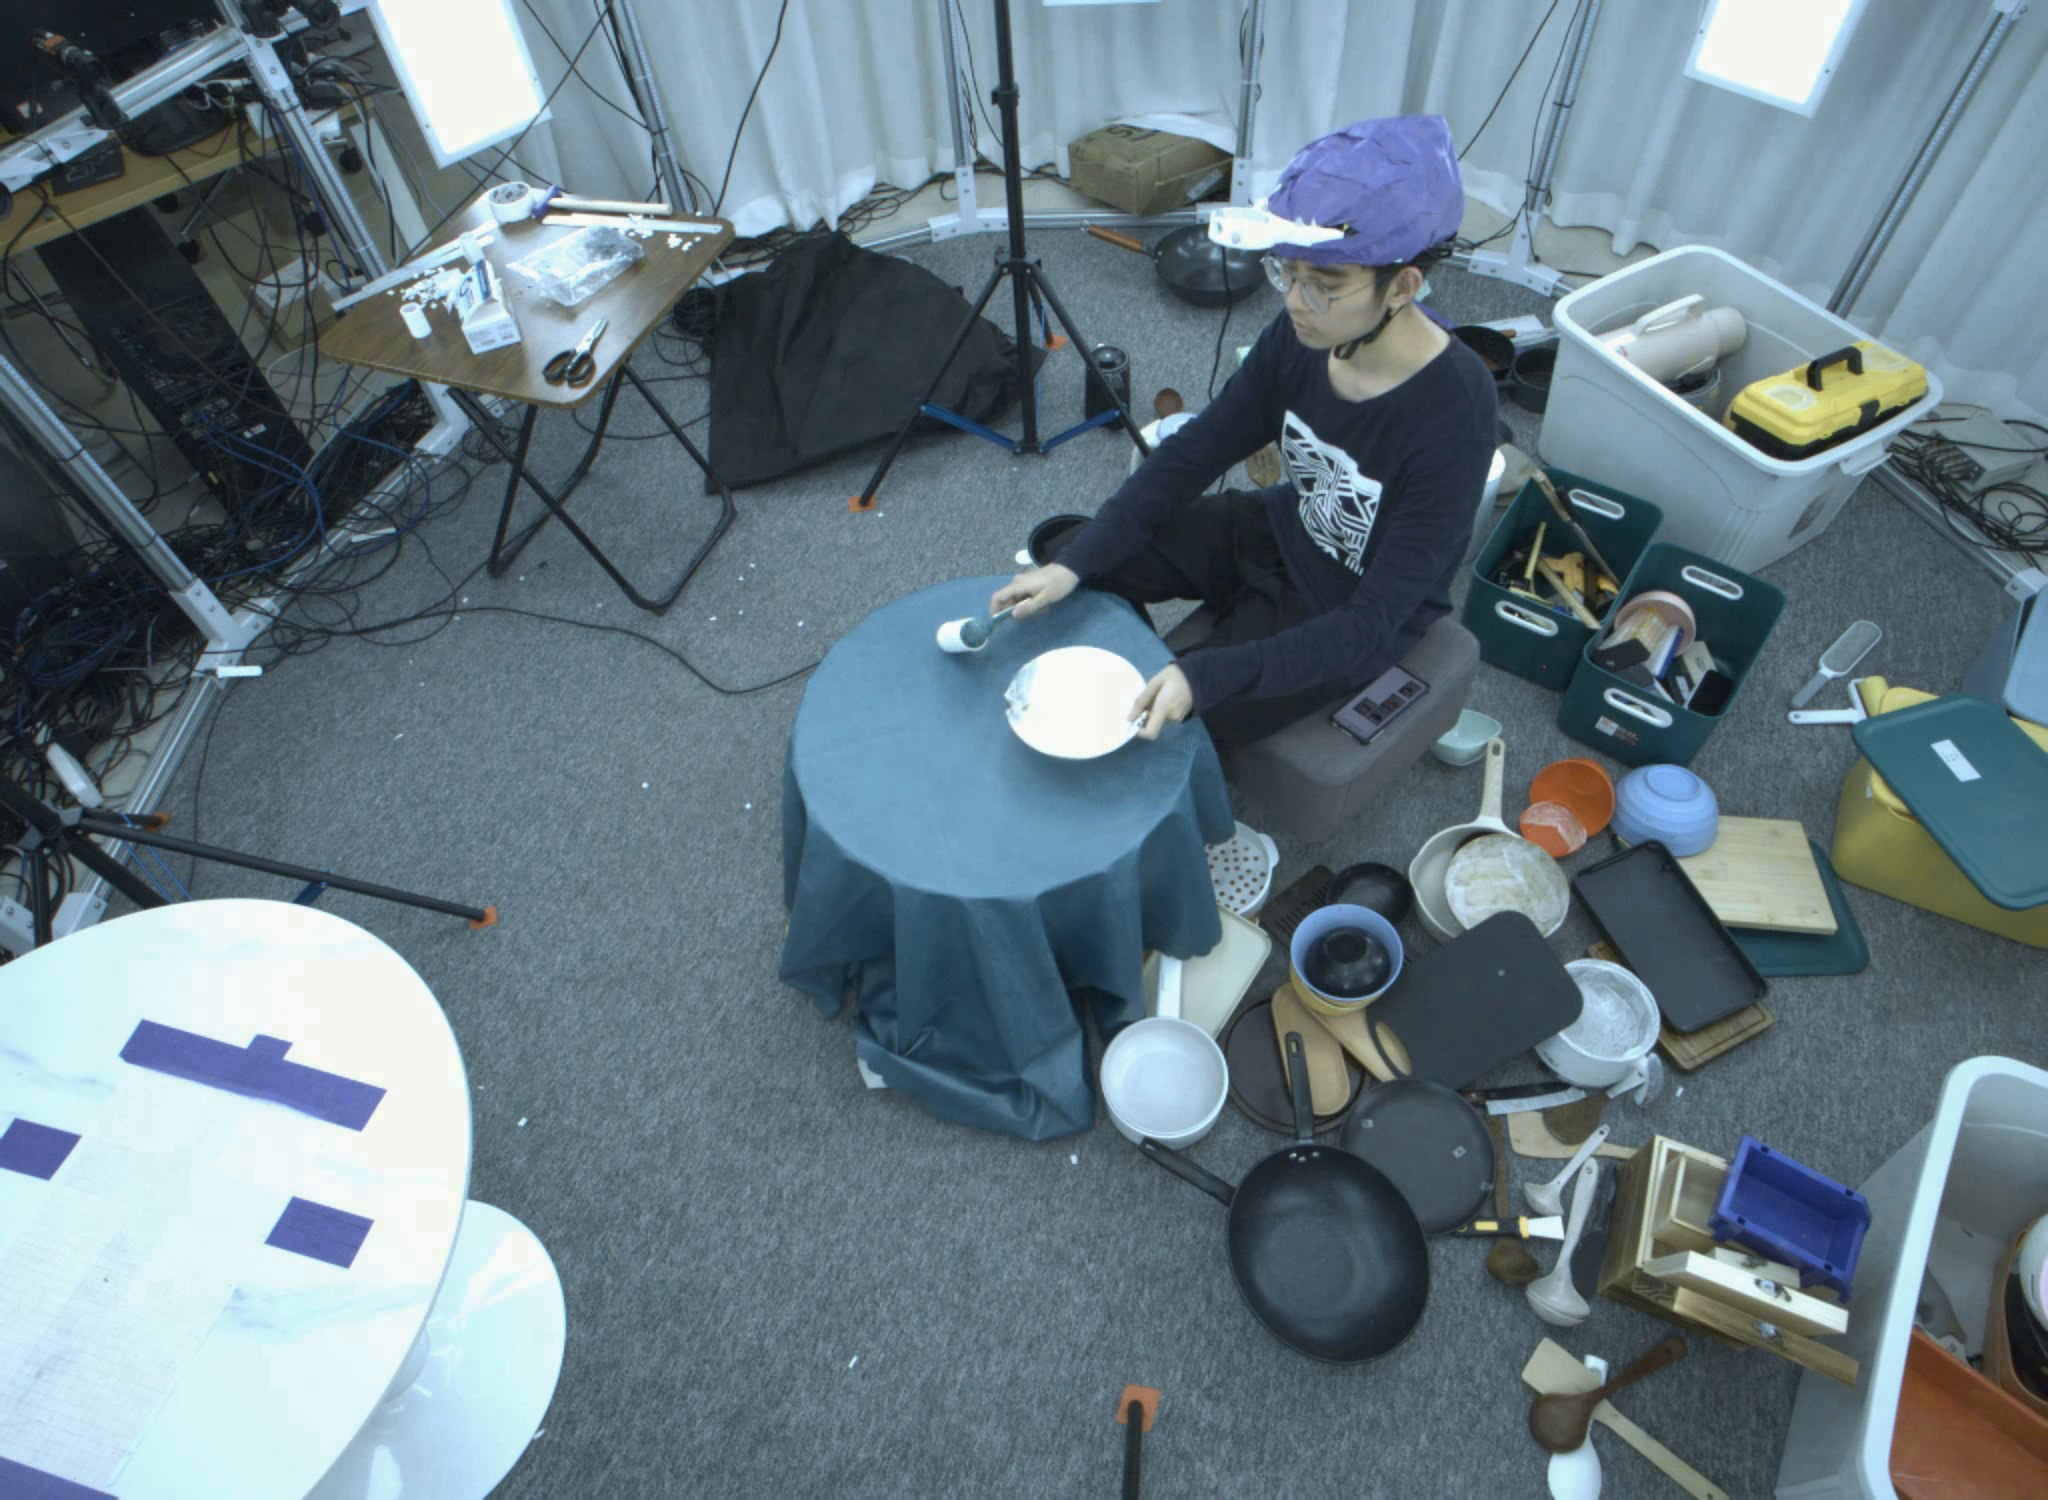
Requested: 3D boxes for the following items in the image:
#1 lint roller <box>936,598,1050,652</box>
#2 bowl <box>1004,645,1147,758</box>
[{"bbox_3d":[-0.041,-0.206,1.873,0.181,0.049,0.132,-33,16,-19],"label":"lint roller"},{"bbox_3d":[0.075,-0.050,1.780,0.204,0.079,0.202,0,54,1],"label":"bowl"}]
